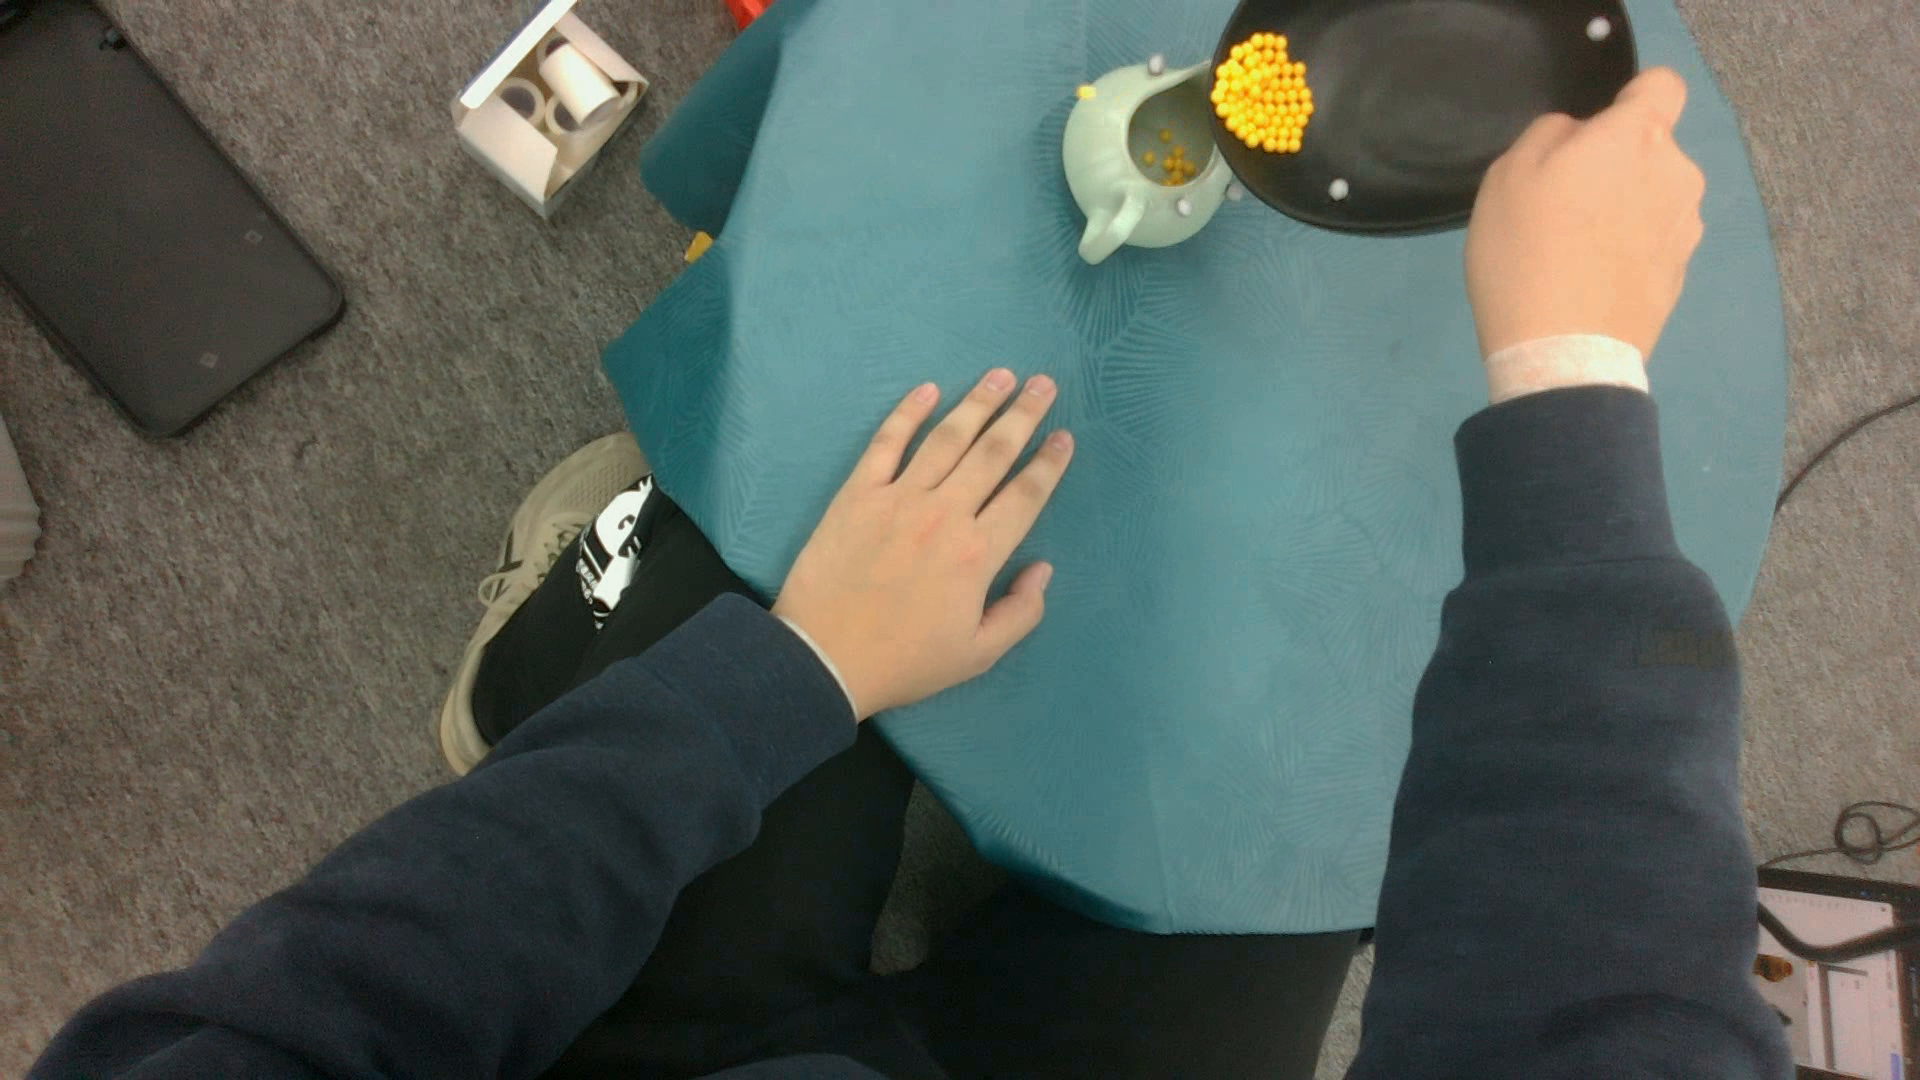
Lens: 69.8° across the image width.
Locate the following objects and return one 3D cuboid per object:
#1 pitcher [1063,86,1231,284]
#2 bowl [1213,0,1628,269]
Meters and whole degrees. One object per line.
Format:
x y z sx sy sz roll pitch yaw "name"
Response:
0.089 -0.170 0.675 0.086 0.060 0.108 31 83 -11 "pitcher"
0.200 -0.180 0.601 0.170 0.067 0.137 13 89 25 "bowl"
